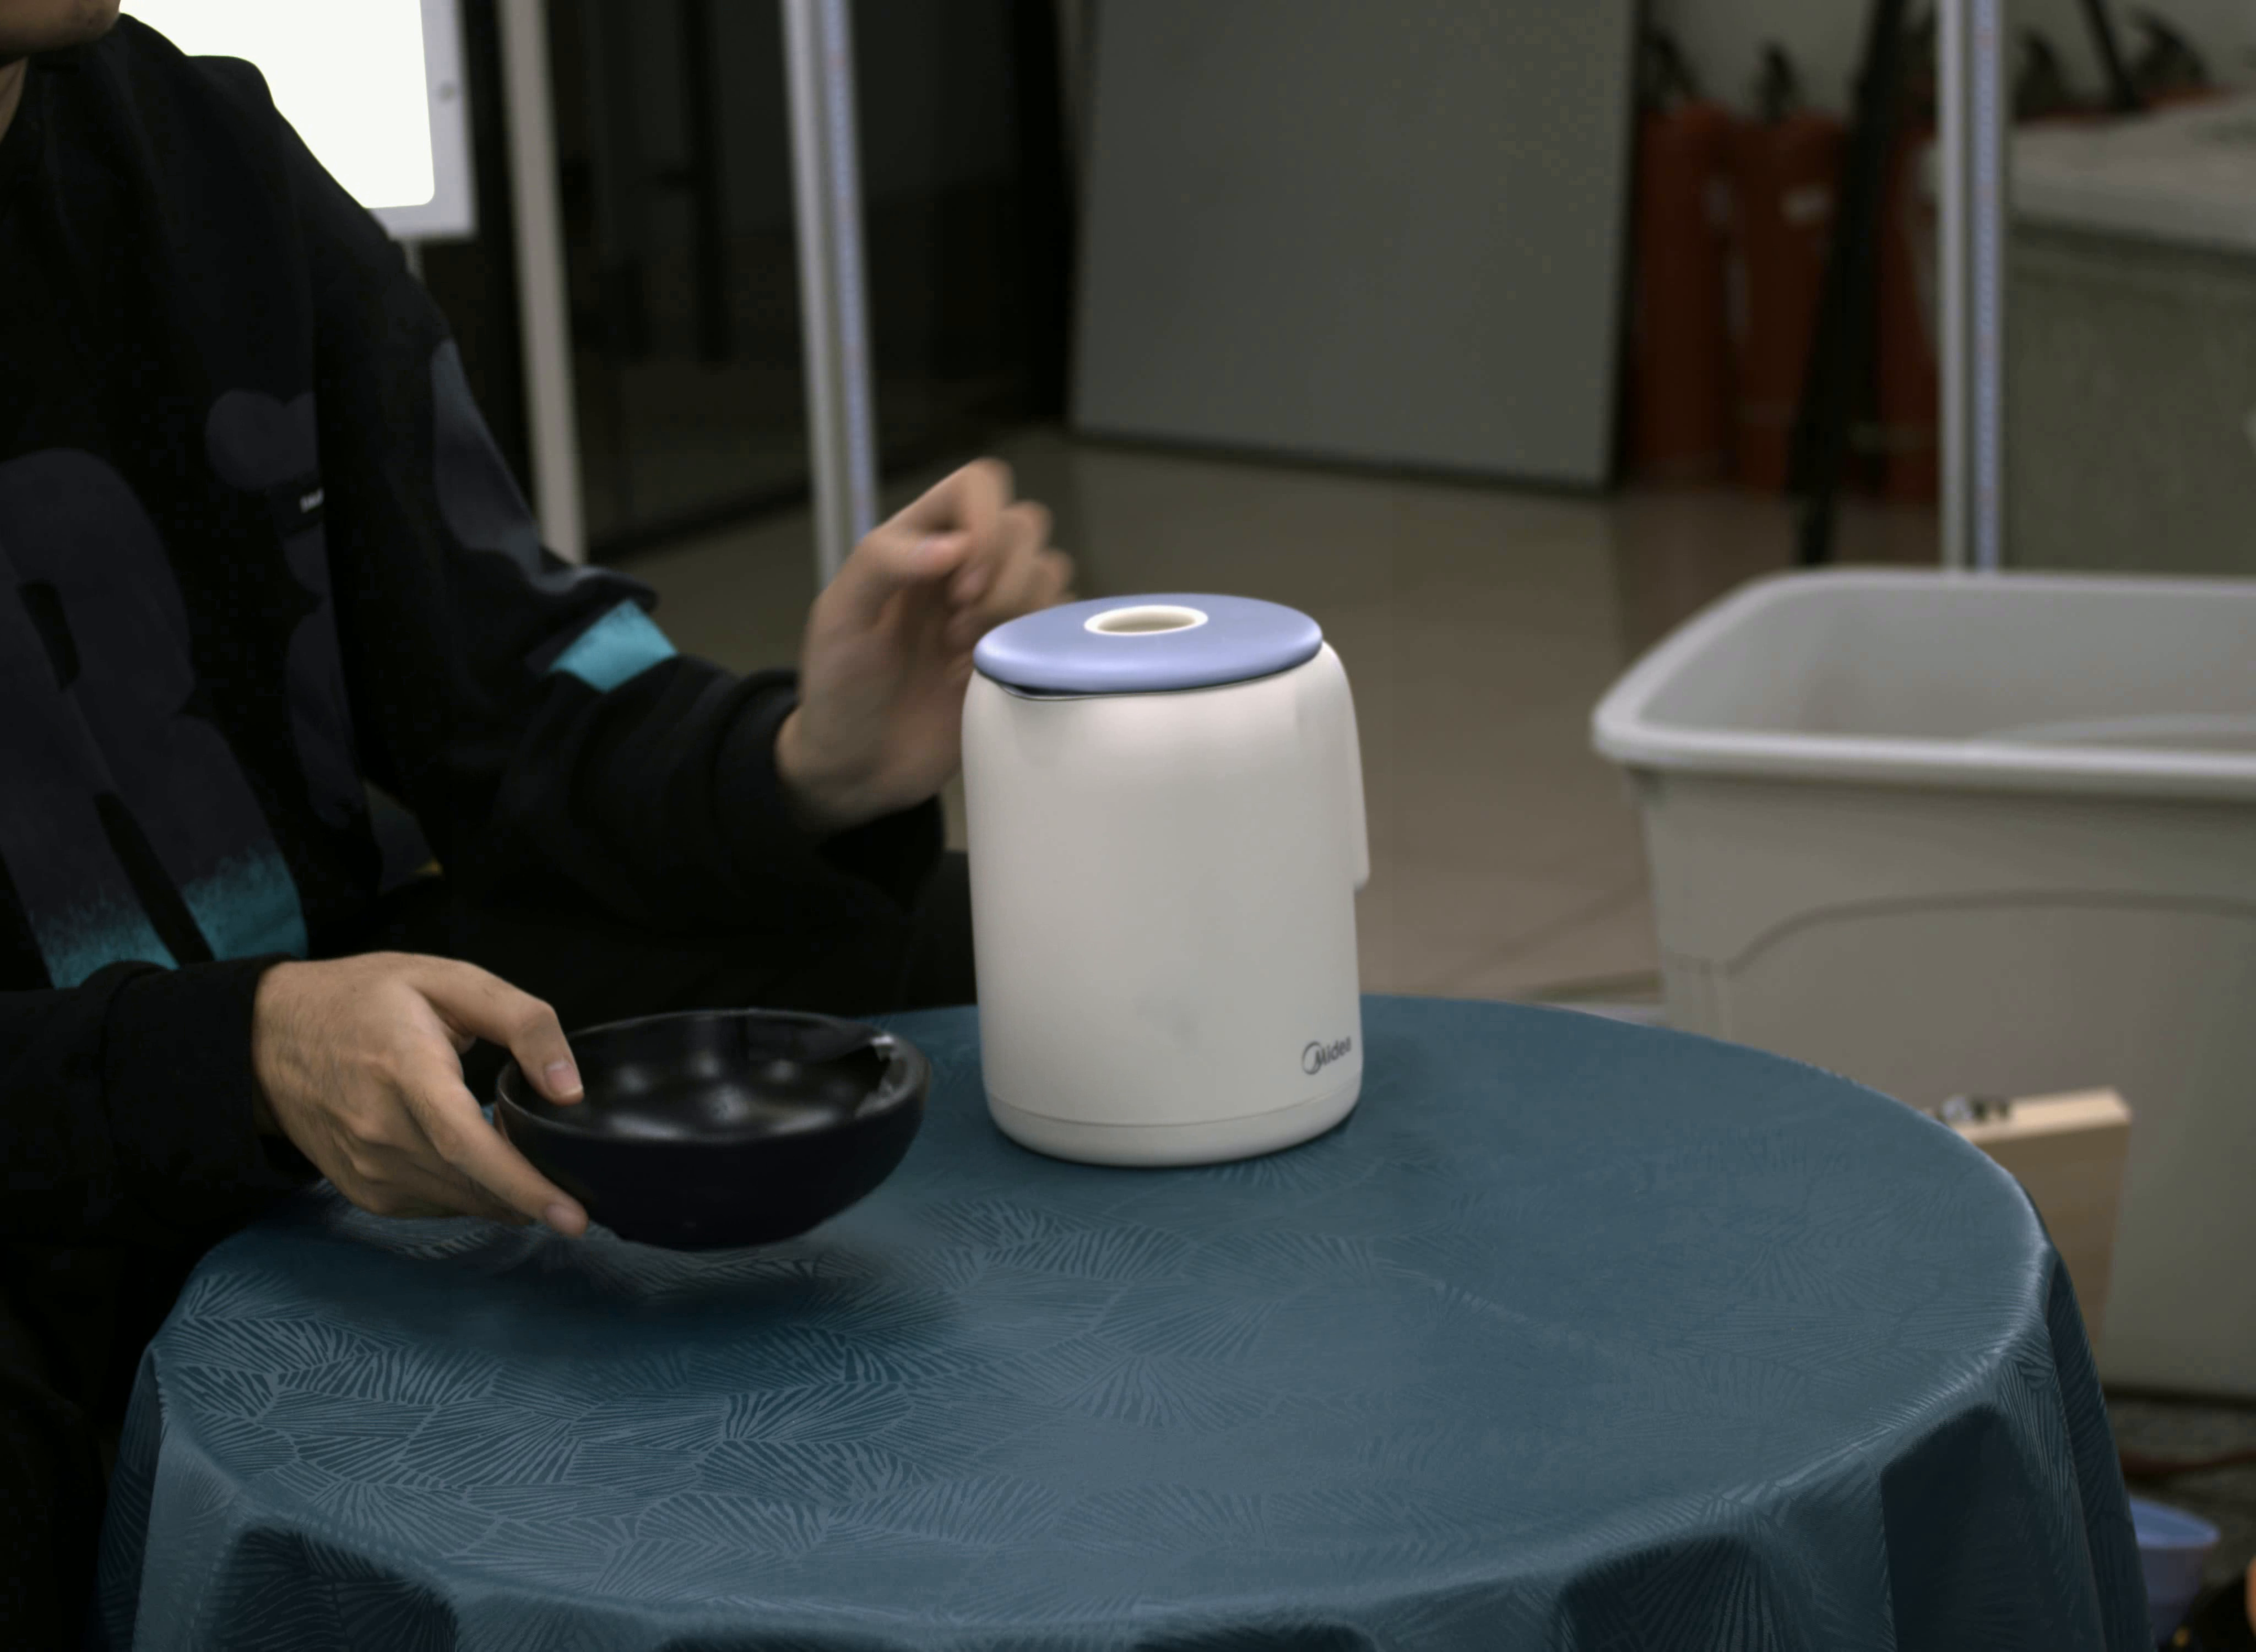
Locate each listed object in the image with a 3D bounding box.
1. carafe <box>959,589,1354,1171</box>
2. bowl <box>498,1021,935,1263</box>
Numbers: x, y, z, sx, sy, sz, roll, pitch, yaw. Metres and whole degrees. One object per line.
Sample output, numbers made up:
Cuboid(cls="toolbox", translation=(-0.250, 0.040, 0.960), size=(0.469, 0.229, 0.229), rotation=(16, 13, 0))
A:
Cuboid(cls="carafe", translation=(0.023, 0.012, 1.847), size=(0.133, 0.184, 0.188), rotation=(7, 15, 34))
Cuboid(cls="bowl", translation=(-0.128, 0.104, 1.707), size=(0.138, 0.050, 0.140), rotation=(-2, 13, 0))
